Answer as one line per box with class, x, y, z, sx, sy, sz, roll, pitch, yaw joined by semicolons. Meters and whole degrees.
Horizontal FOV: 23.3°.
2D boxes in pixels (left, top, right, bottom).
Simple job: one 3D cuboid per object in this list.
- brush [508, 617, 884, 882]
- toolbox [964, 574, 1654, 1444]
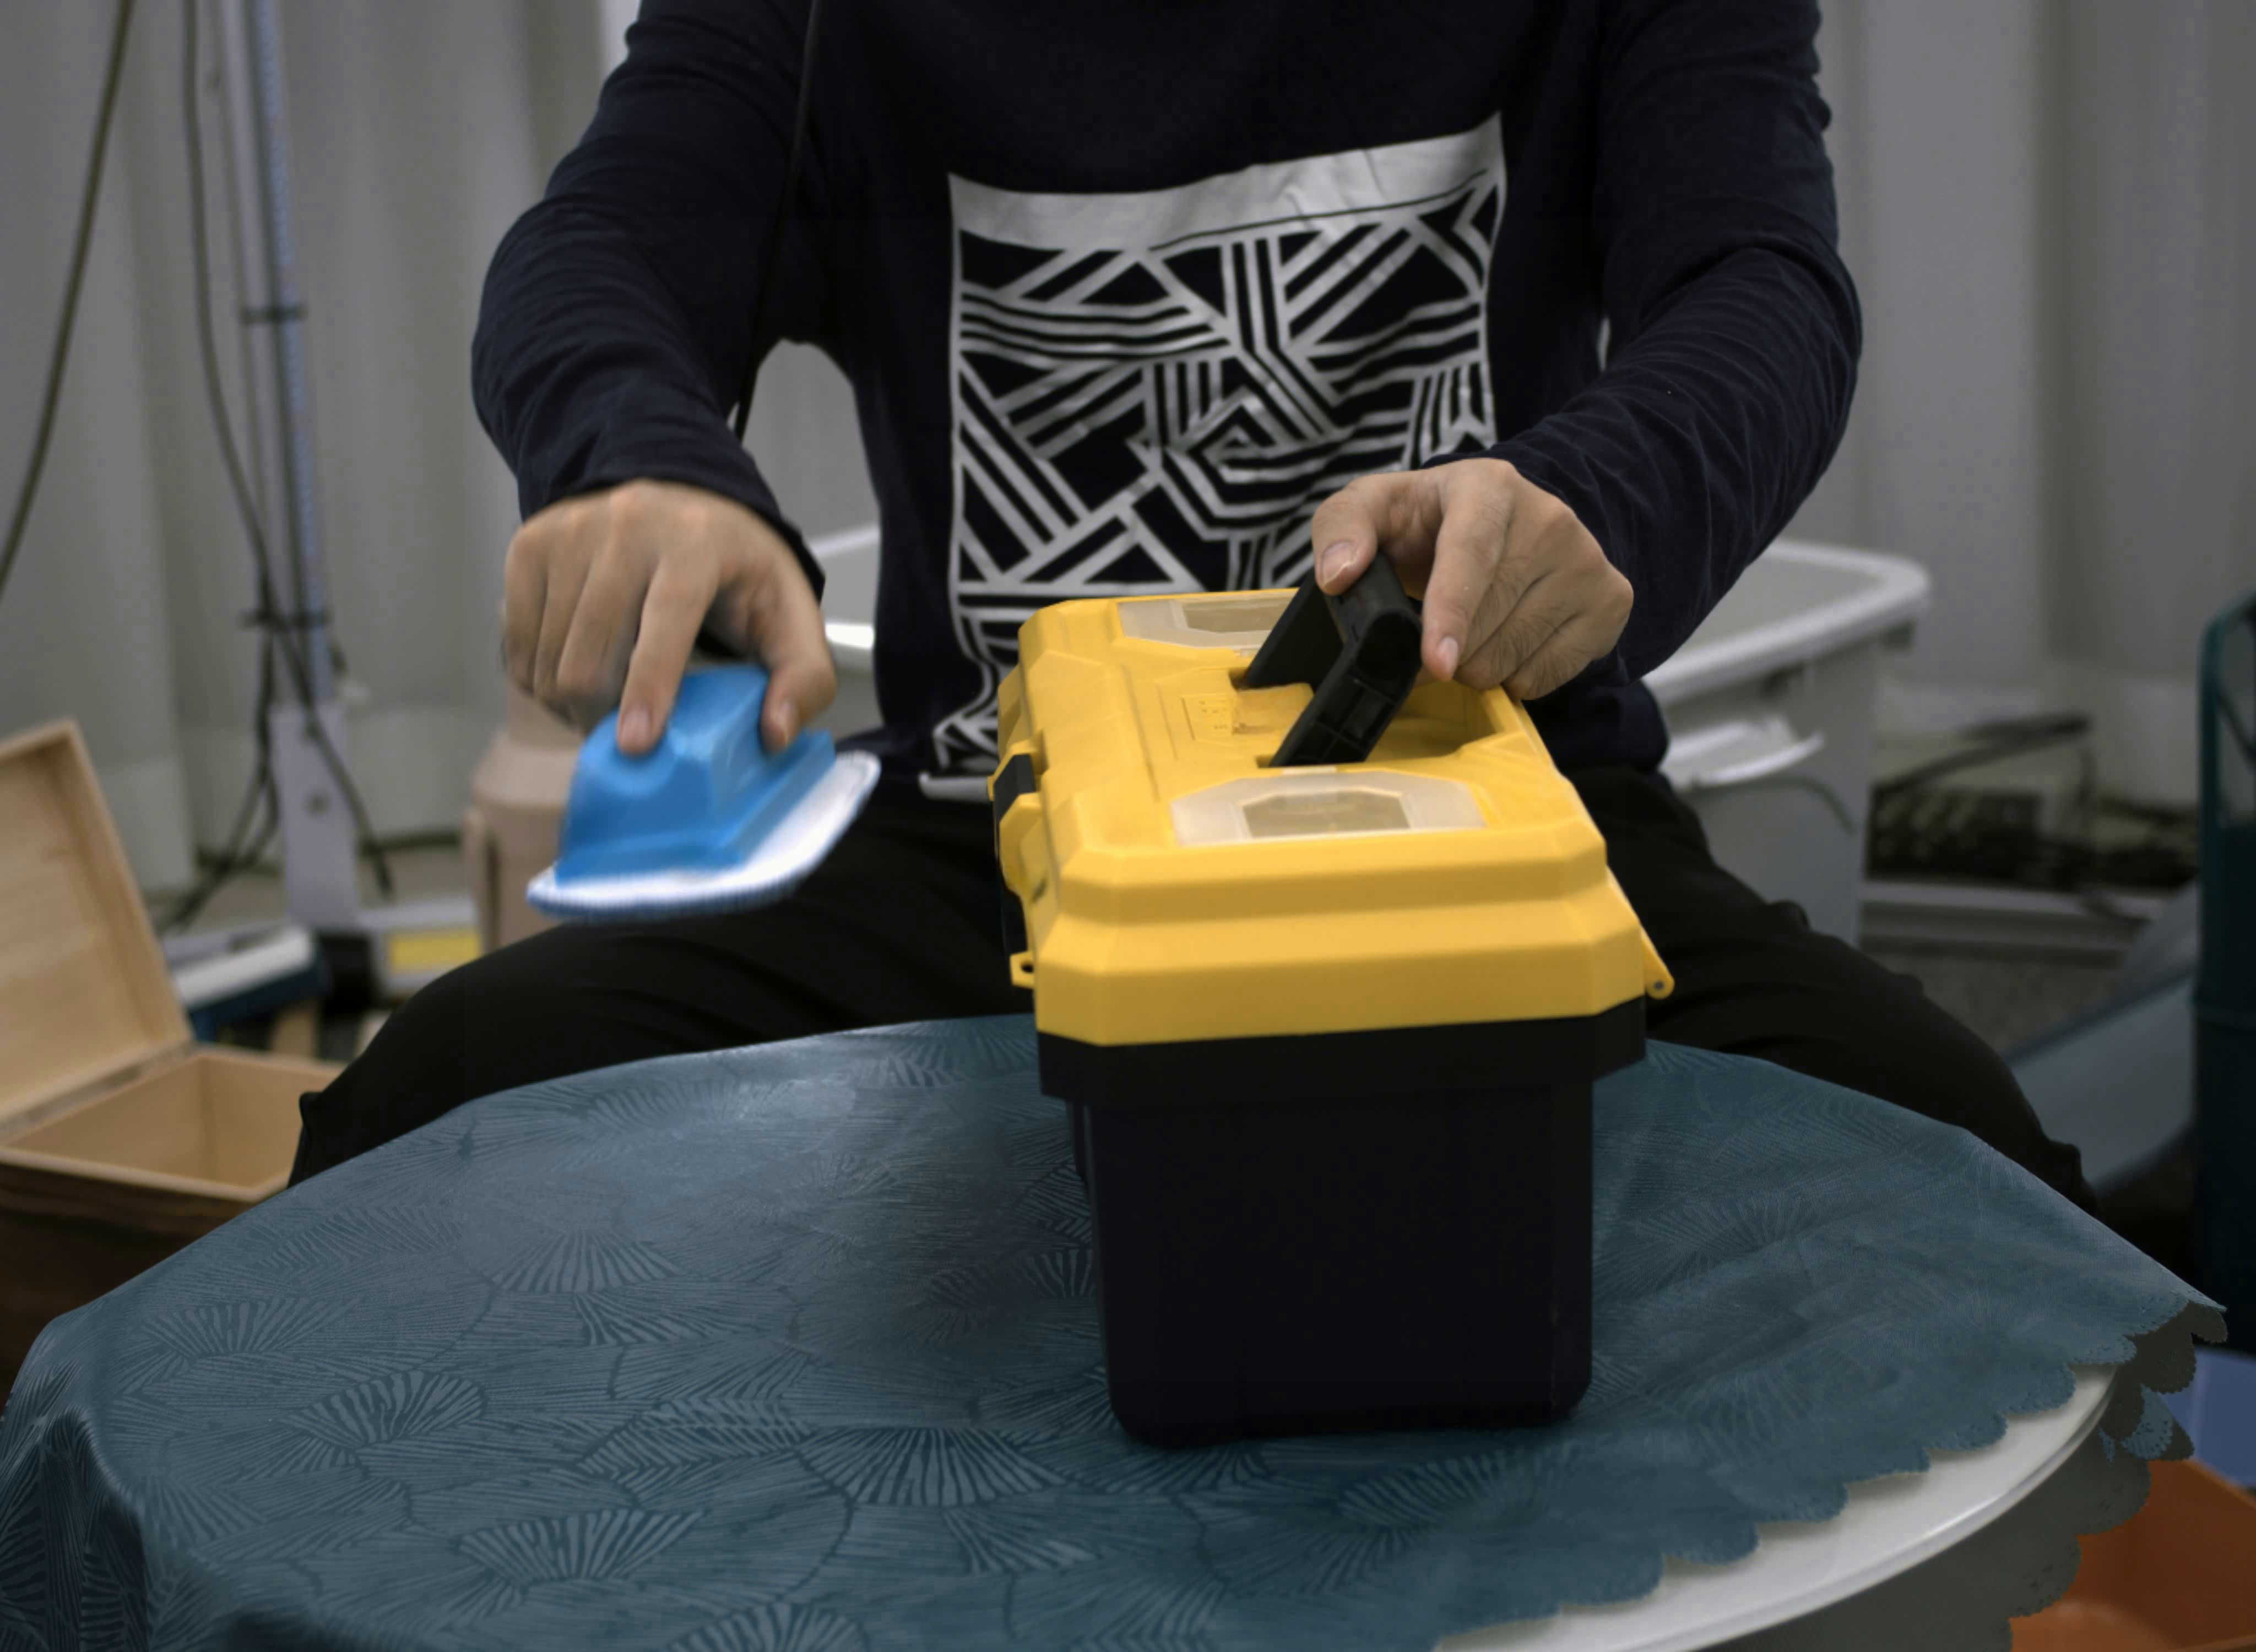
brush;-0.126;-0.025;1.596;0.084;0.055;0.145;-2;17;13
toolbox;0.048;0.045;1.629;0.180;0.172;0.354;-3;15;-3
